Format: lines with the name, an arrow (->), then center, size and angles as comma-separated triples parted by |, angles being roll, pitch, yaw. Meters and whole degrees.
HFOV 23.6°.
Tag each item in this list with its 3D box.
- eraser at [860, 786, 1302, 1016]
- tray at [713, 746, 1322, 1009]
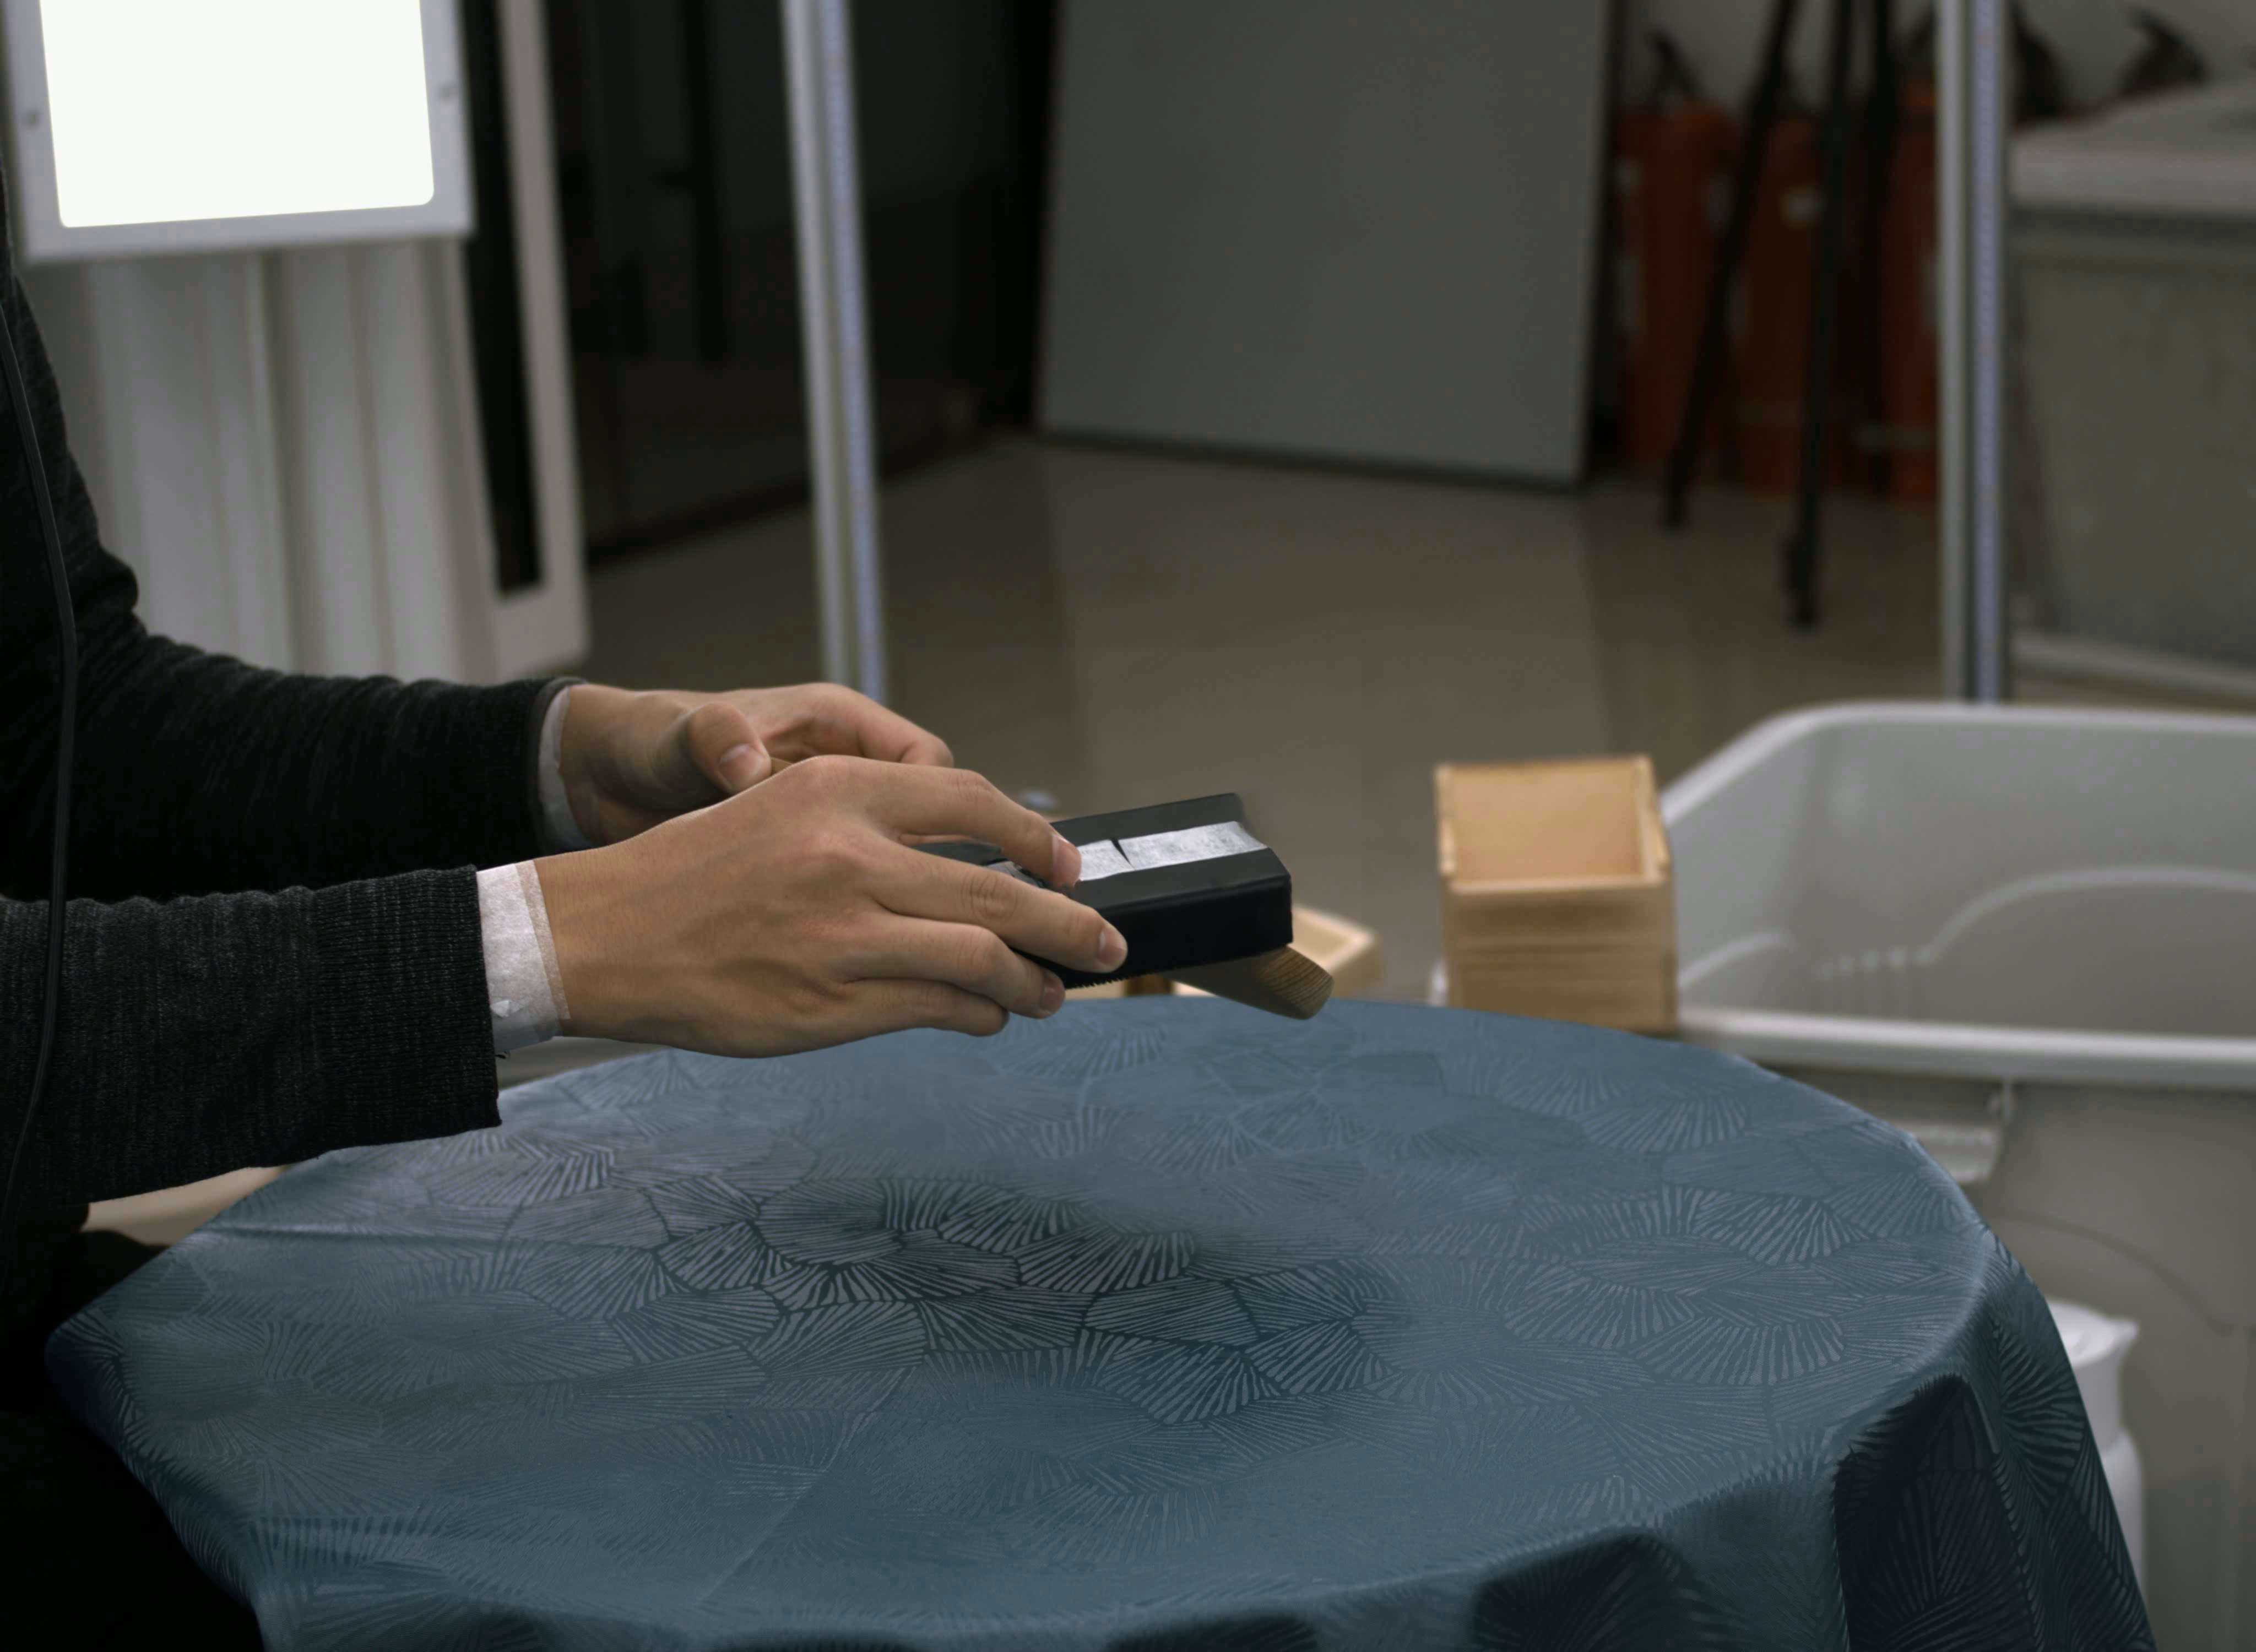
eraser -> -0.014, 0.021, 1.601 | 0.123, 0.031, 0.054 | -12, 35, -21
tray -> -0.038, 0.017, 1.722 | 0.233, 0.020, 0.100 | 15, -15, 36
